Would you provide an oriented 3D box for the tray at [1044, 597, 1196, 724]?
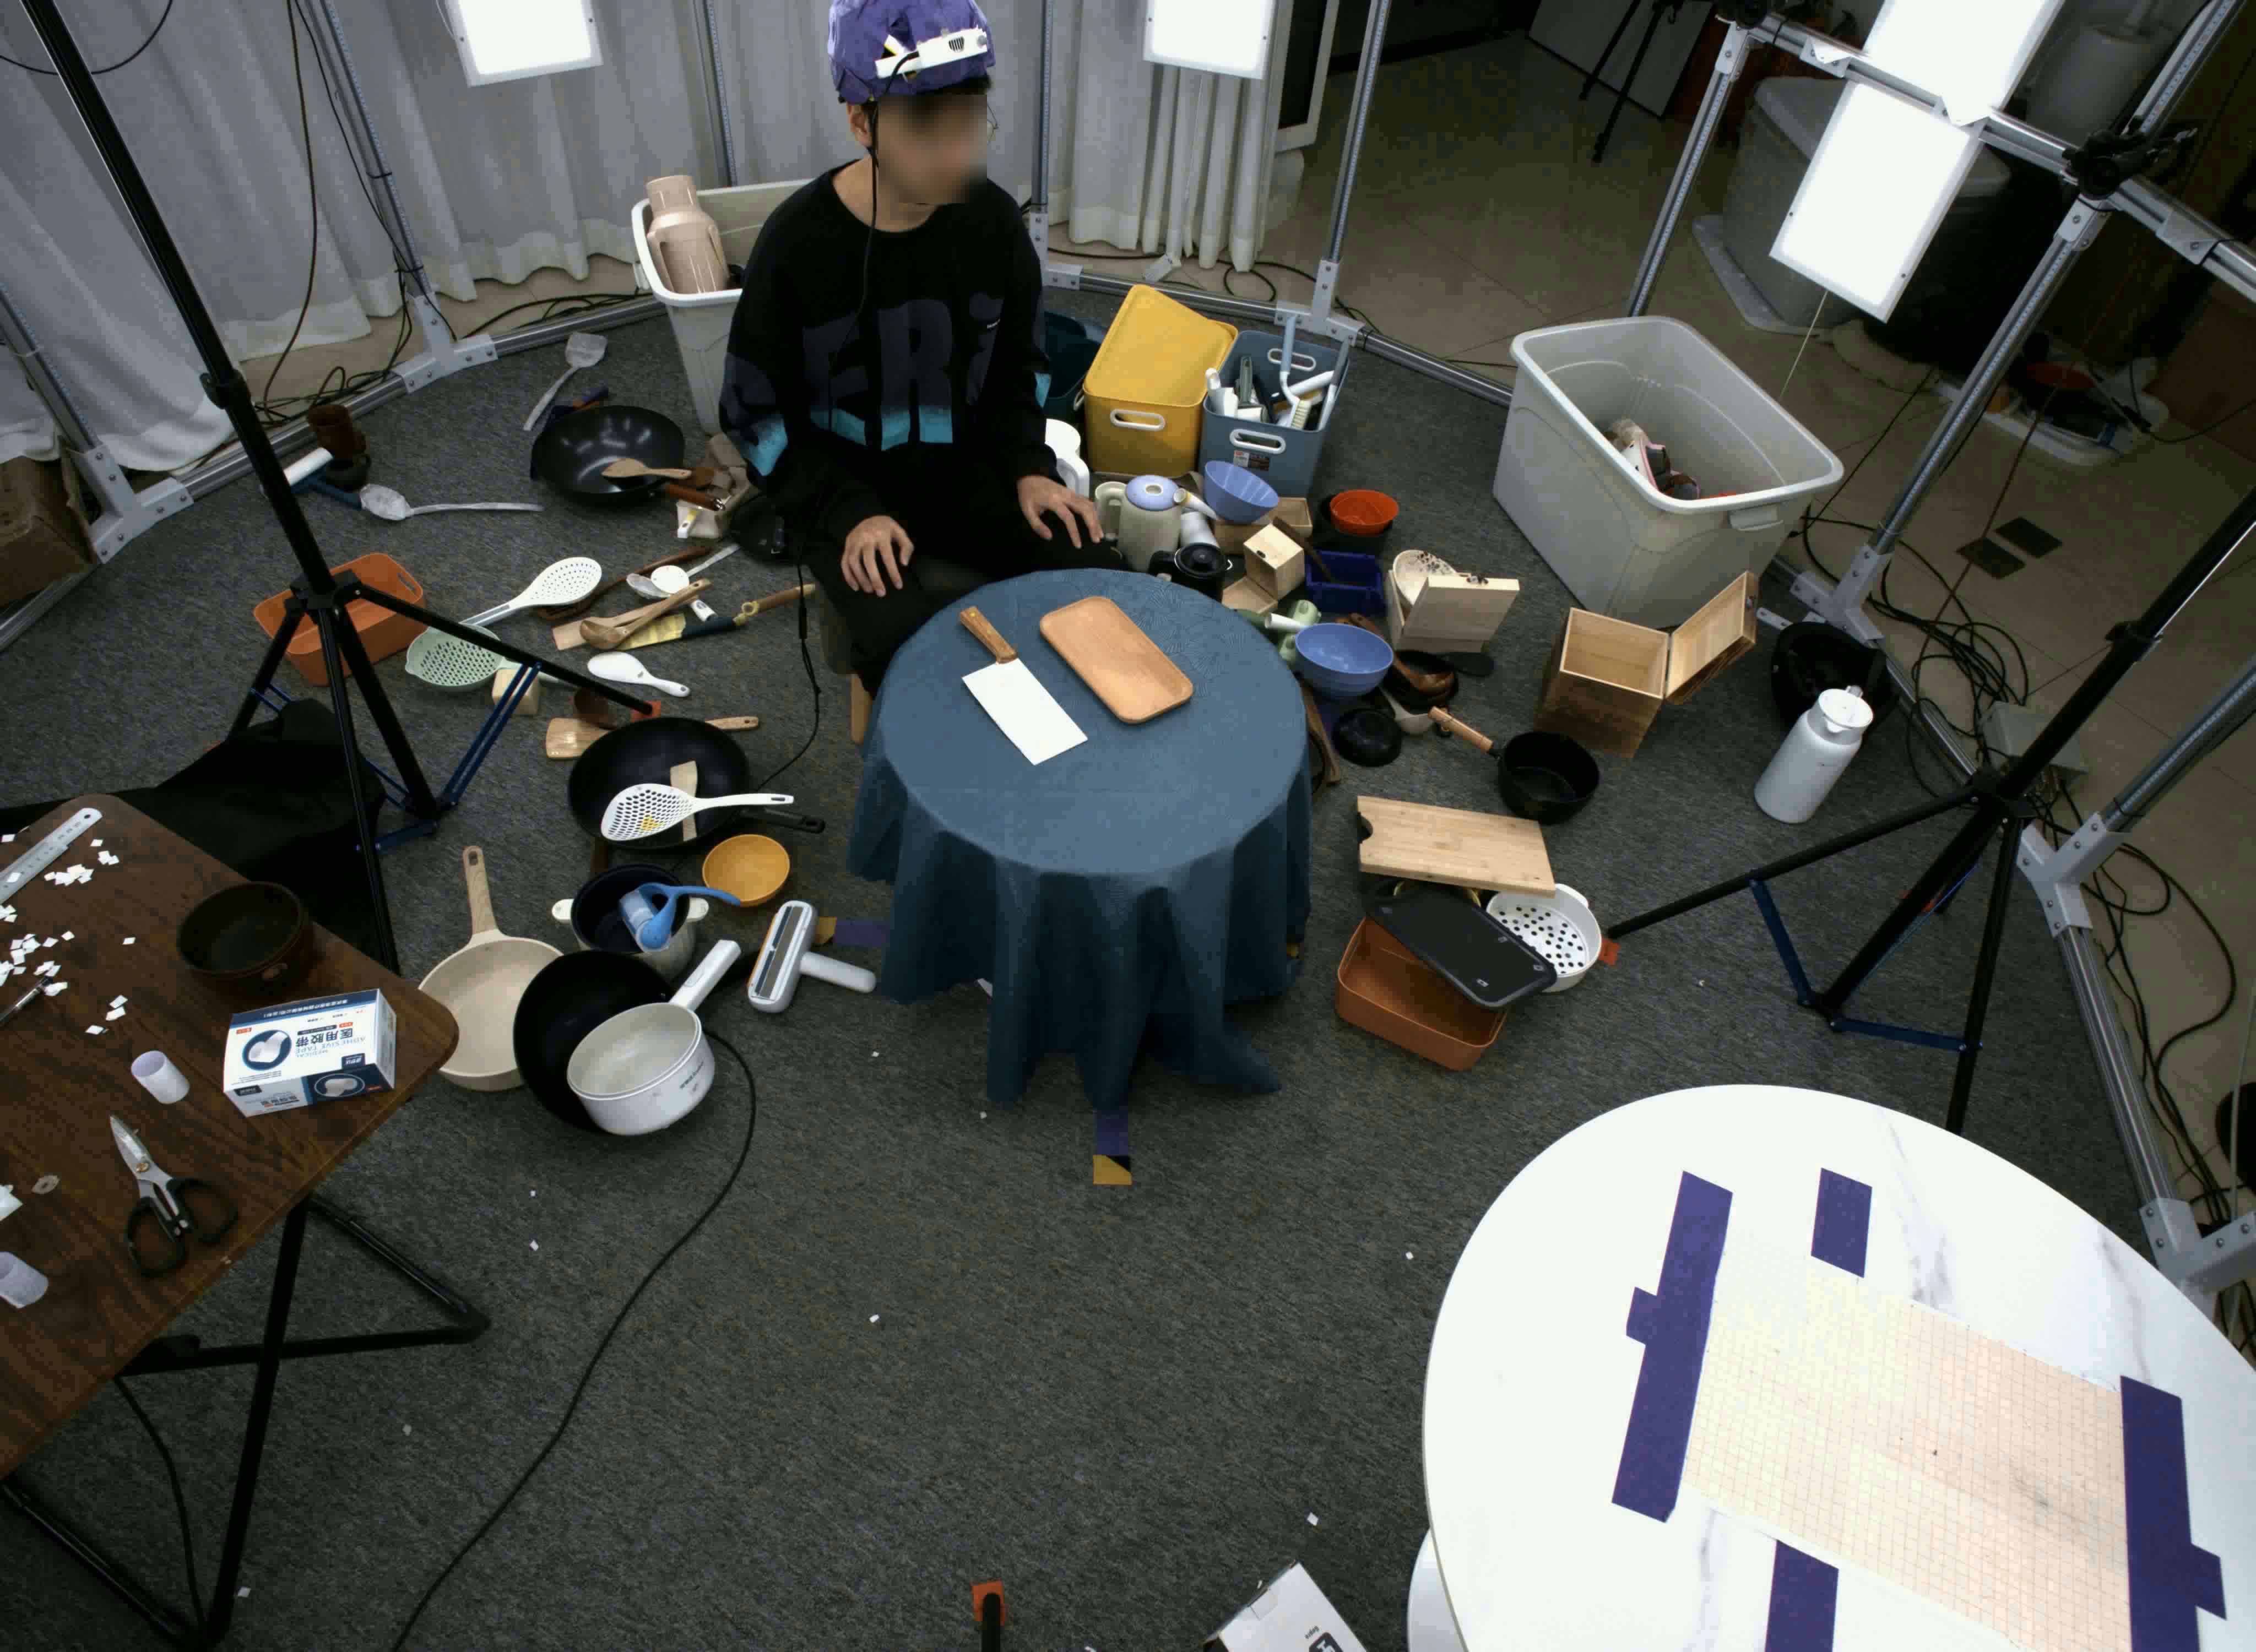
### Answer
[{"bbox_3d":[-0.014,-0.244,1.869,0.131,0.022,0.256,-22,53,-24],"label":"tray"}]

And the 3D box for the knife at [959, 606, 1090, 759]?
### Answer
[{"bbox_3d":[-0.172,-0.204,1.824,0.093,0.020,0.311,-27,58,-23],"label":"knife"}]
